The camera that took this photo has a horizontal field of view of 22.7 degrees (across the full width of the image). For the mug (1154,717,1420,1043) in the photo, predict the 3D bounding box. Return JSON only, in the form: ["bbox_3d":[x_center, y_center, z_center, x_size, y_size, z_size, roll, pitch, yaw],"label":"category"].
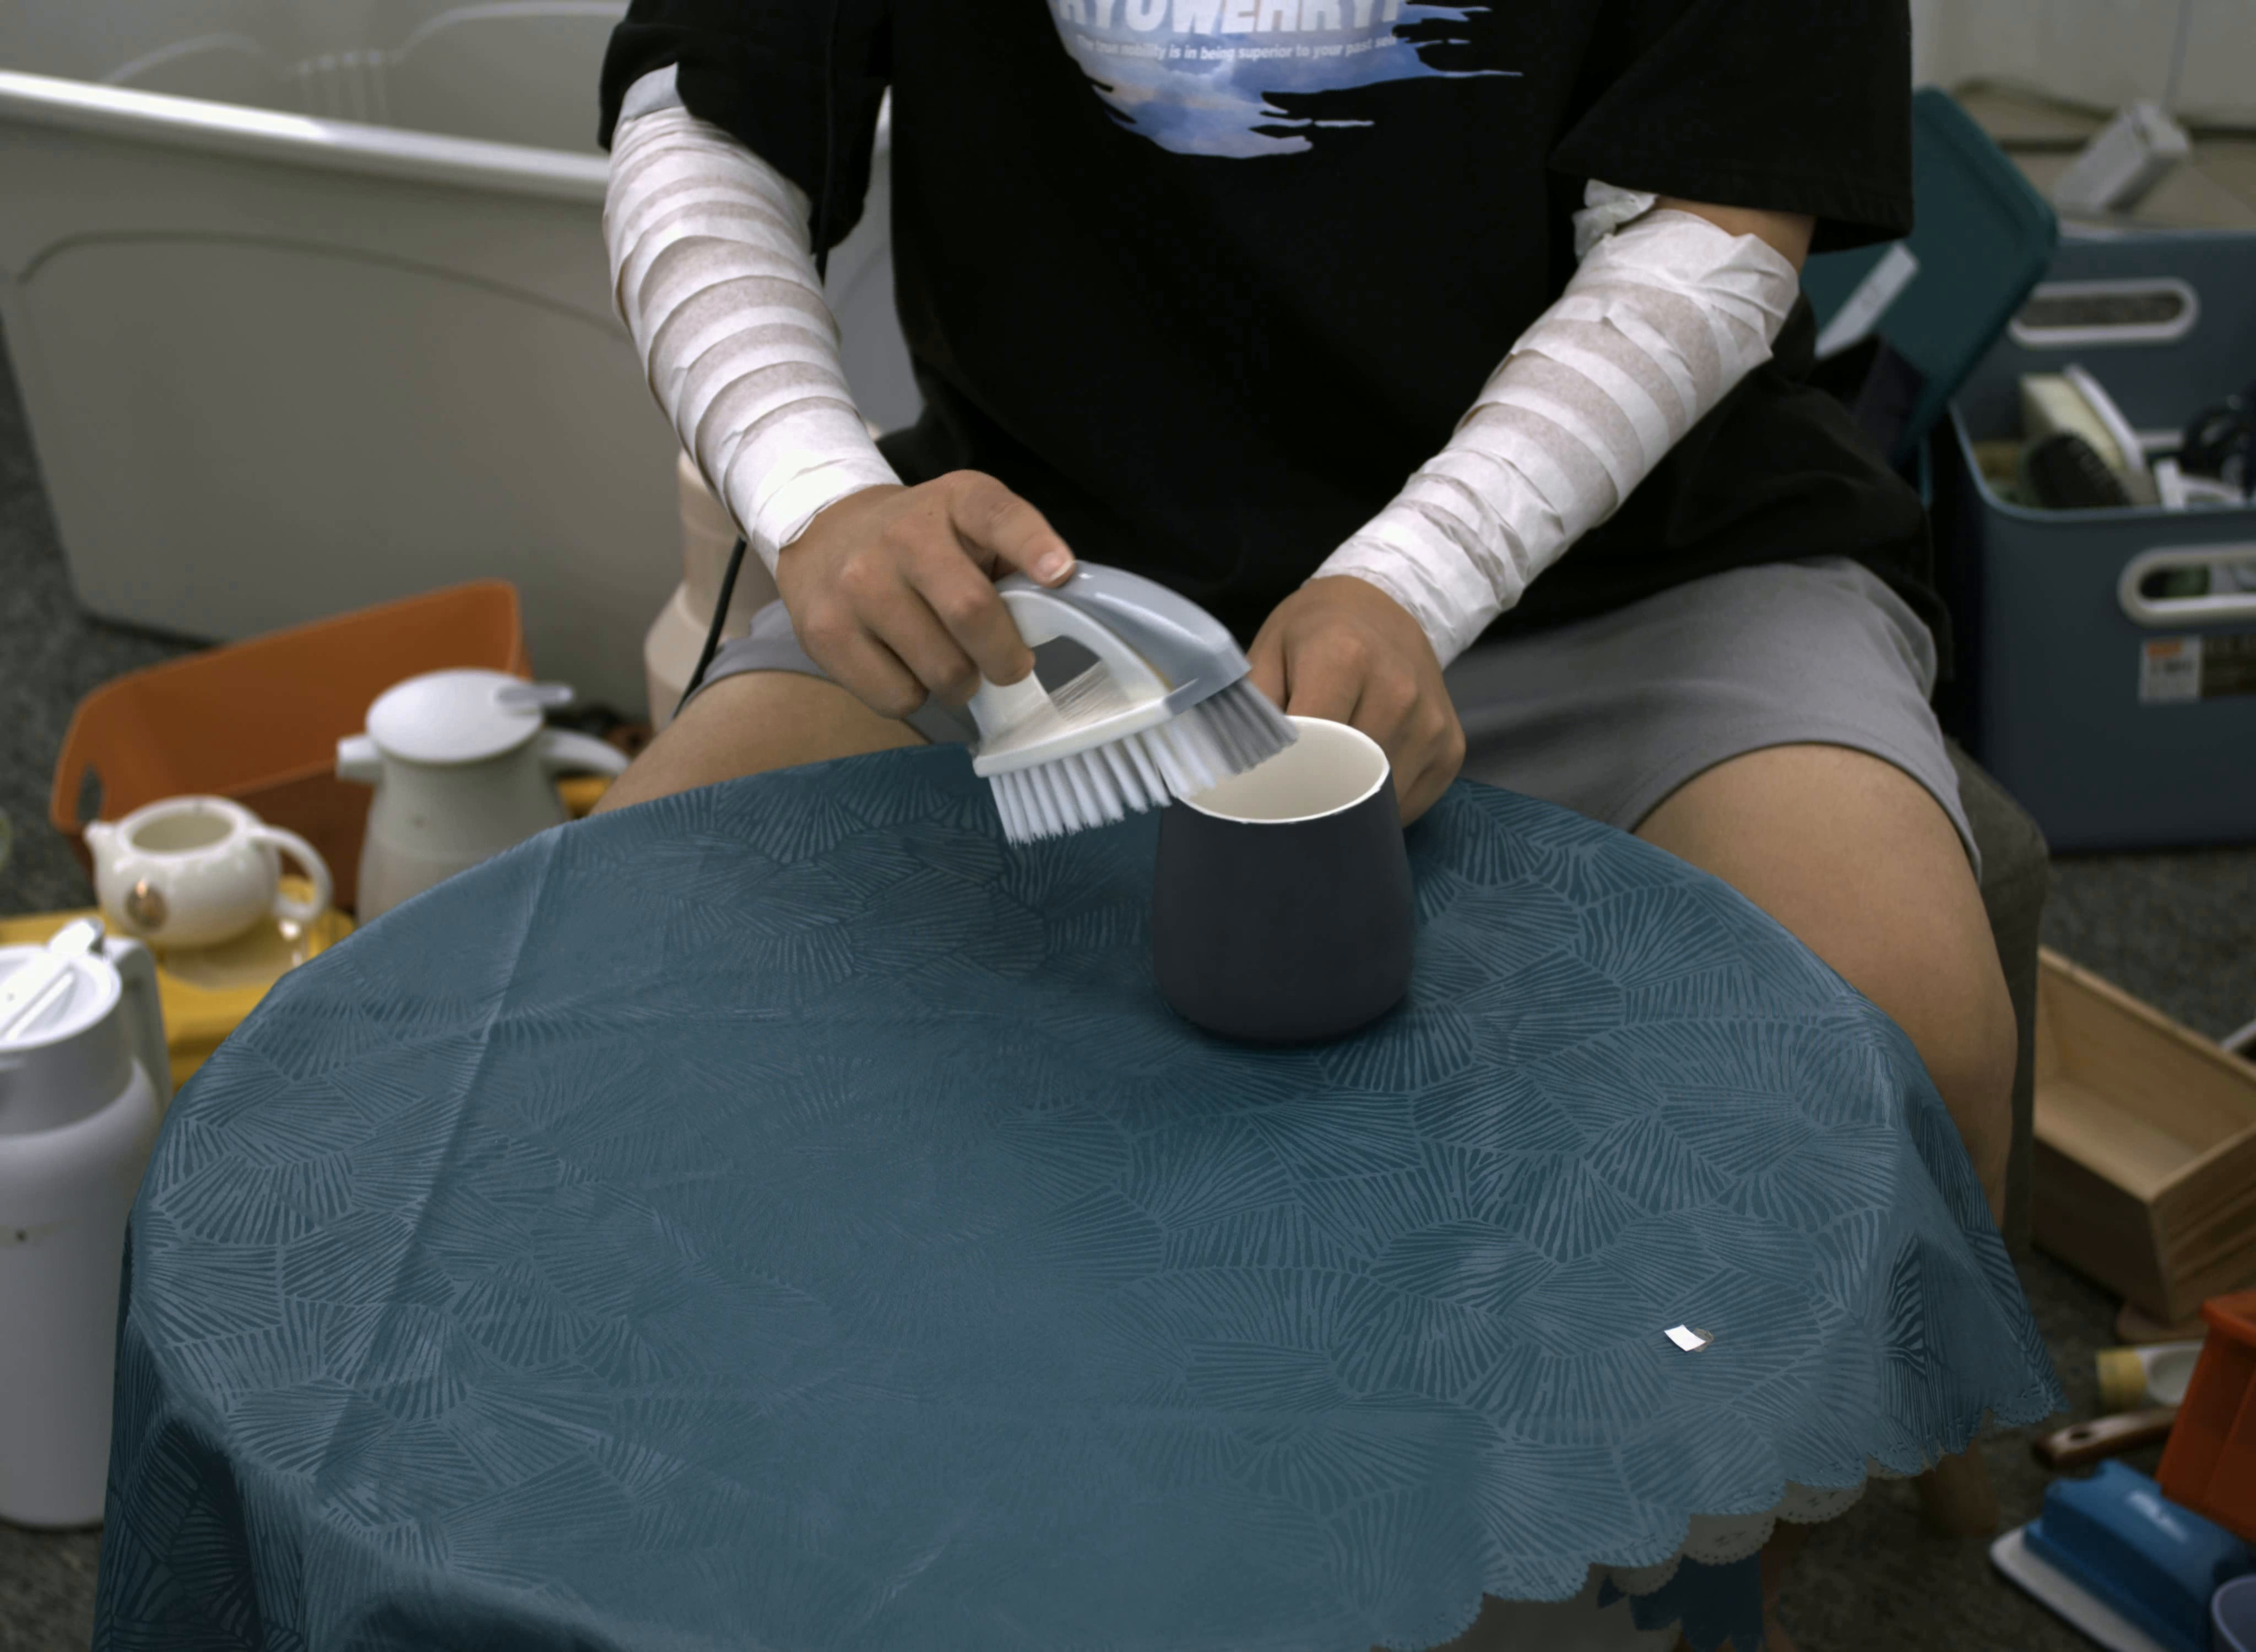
[{"bbox_3d":[0.053,0.012,1.971,0.093,0.089,0.125,-5,27,-1],"label":"mug"}]

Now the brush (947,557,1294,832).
[{"bbox_3d":[-0.008,-0.054,1.952,0.062,0.094,0.174,-41,15,-24],"label":"brush"}]
